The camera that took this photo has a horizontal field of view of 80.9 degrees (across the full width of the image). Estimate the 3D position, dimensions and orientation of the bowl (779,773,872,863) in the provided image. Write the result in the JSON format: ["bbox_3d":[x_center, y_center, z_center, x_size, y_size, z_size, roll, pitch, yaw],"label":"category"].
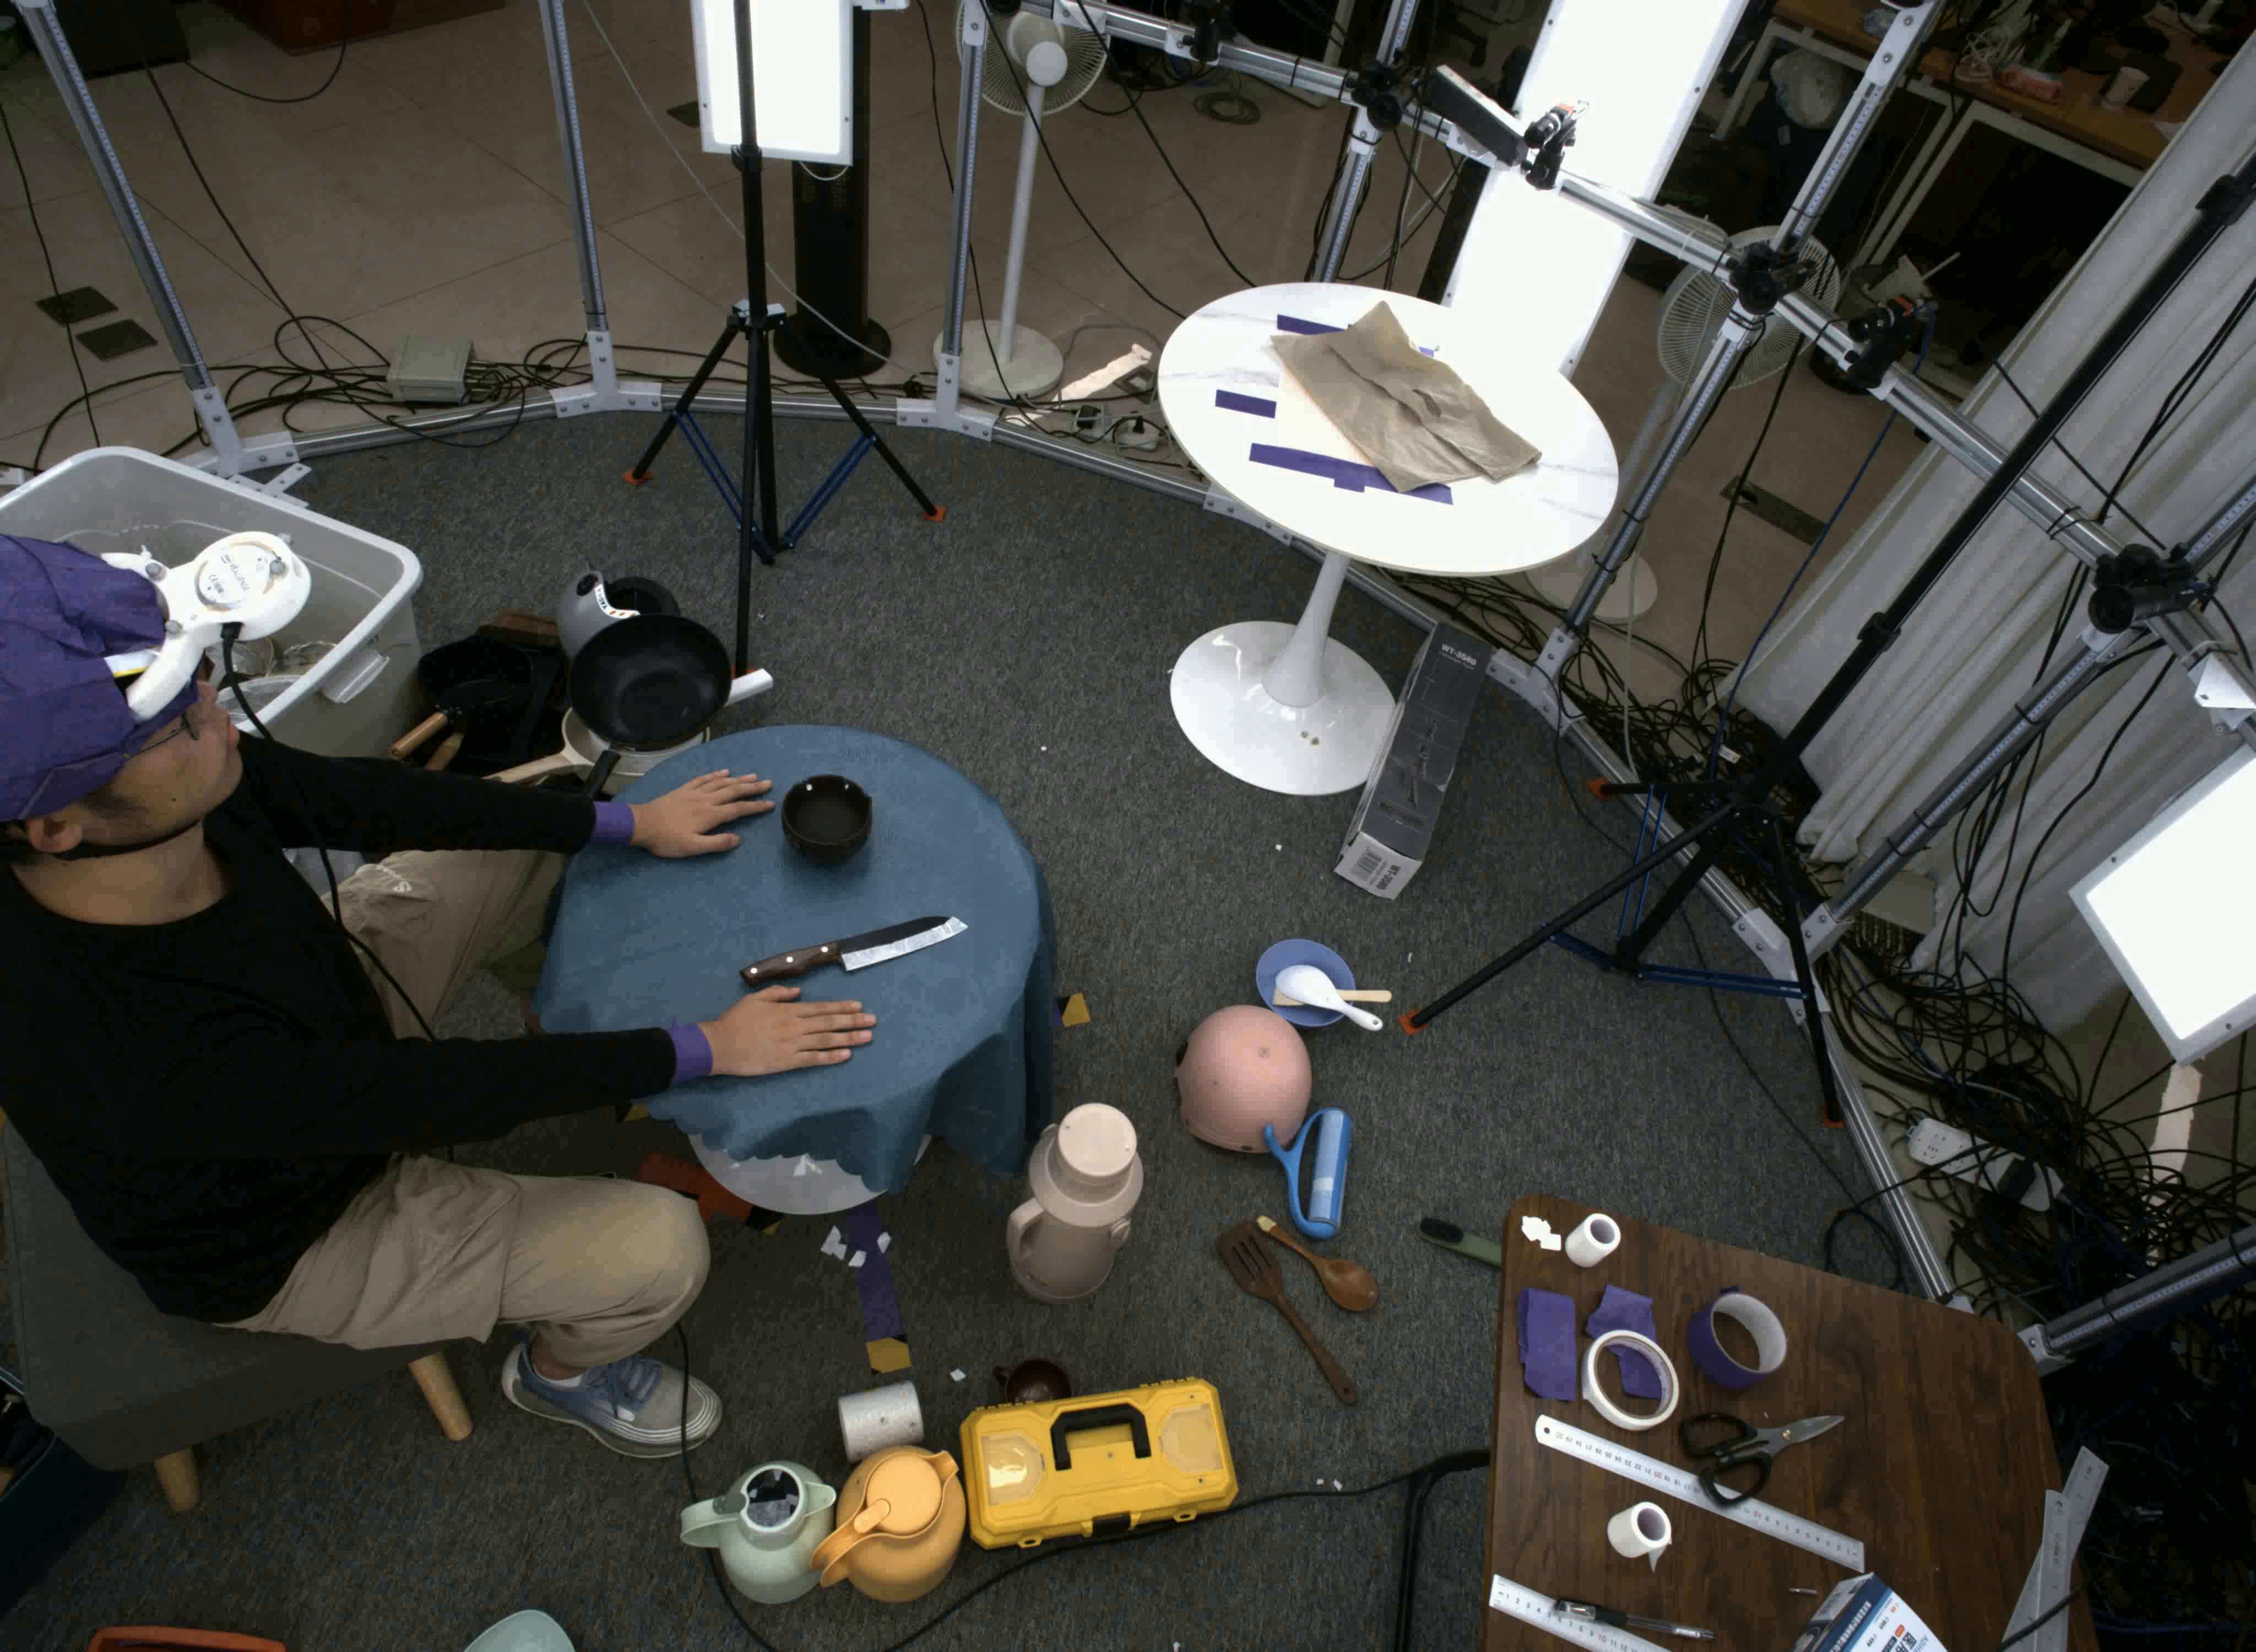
[{"bbox_3d":[-0.392,-0.003,1.687,0.118,0.071,0.116,7,53,-8],"label":"bowl"}]

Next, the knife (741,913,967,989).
[{"bbox_3d":[-0.337,0.153,1.620,0.291,0.020,0.049,-13,62,-26],"label":"knife"}]
